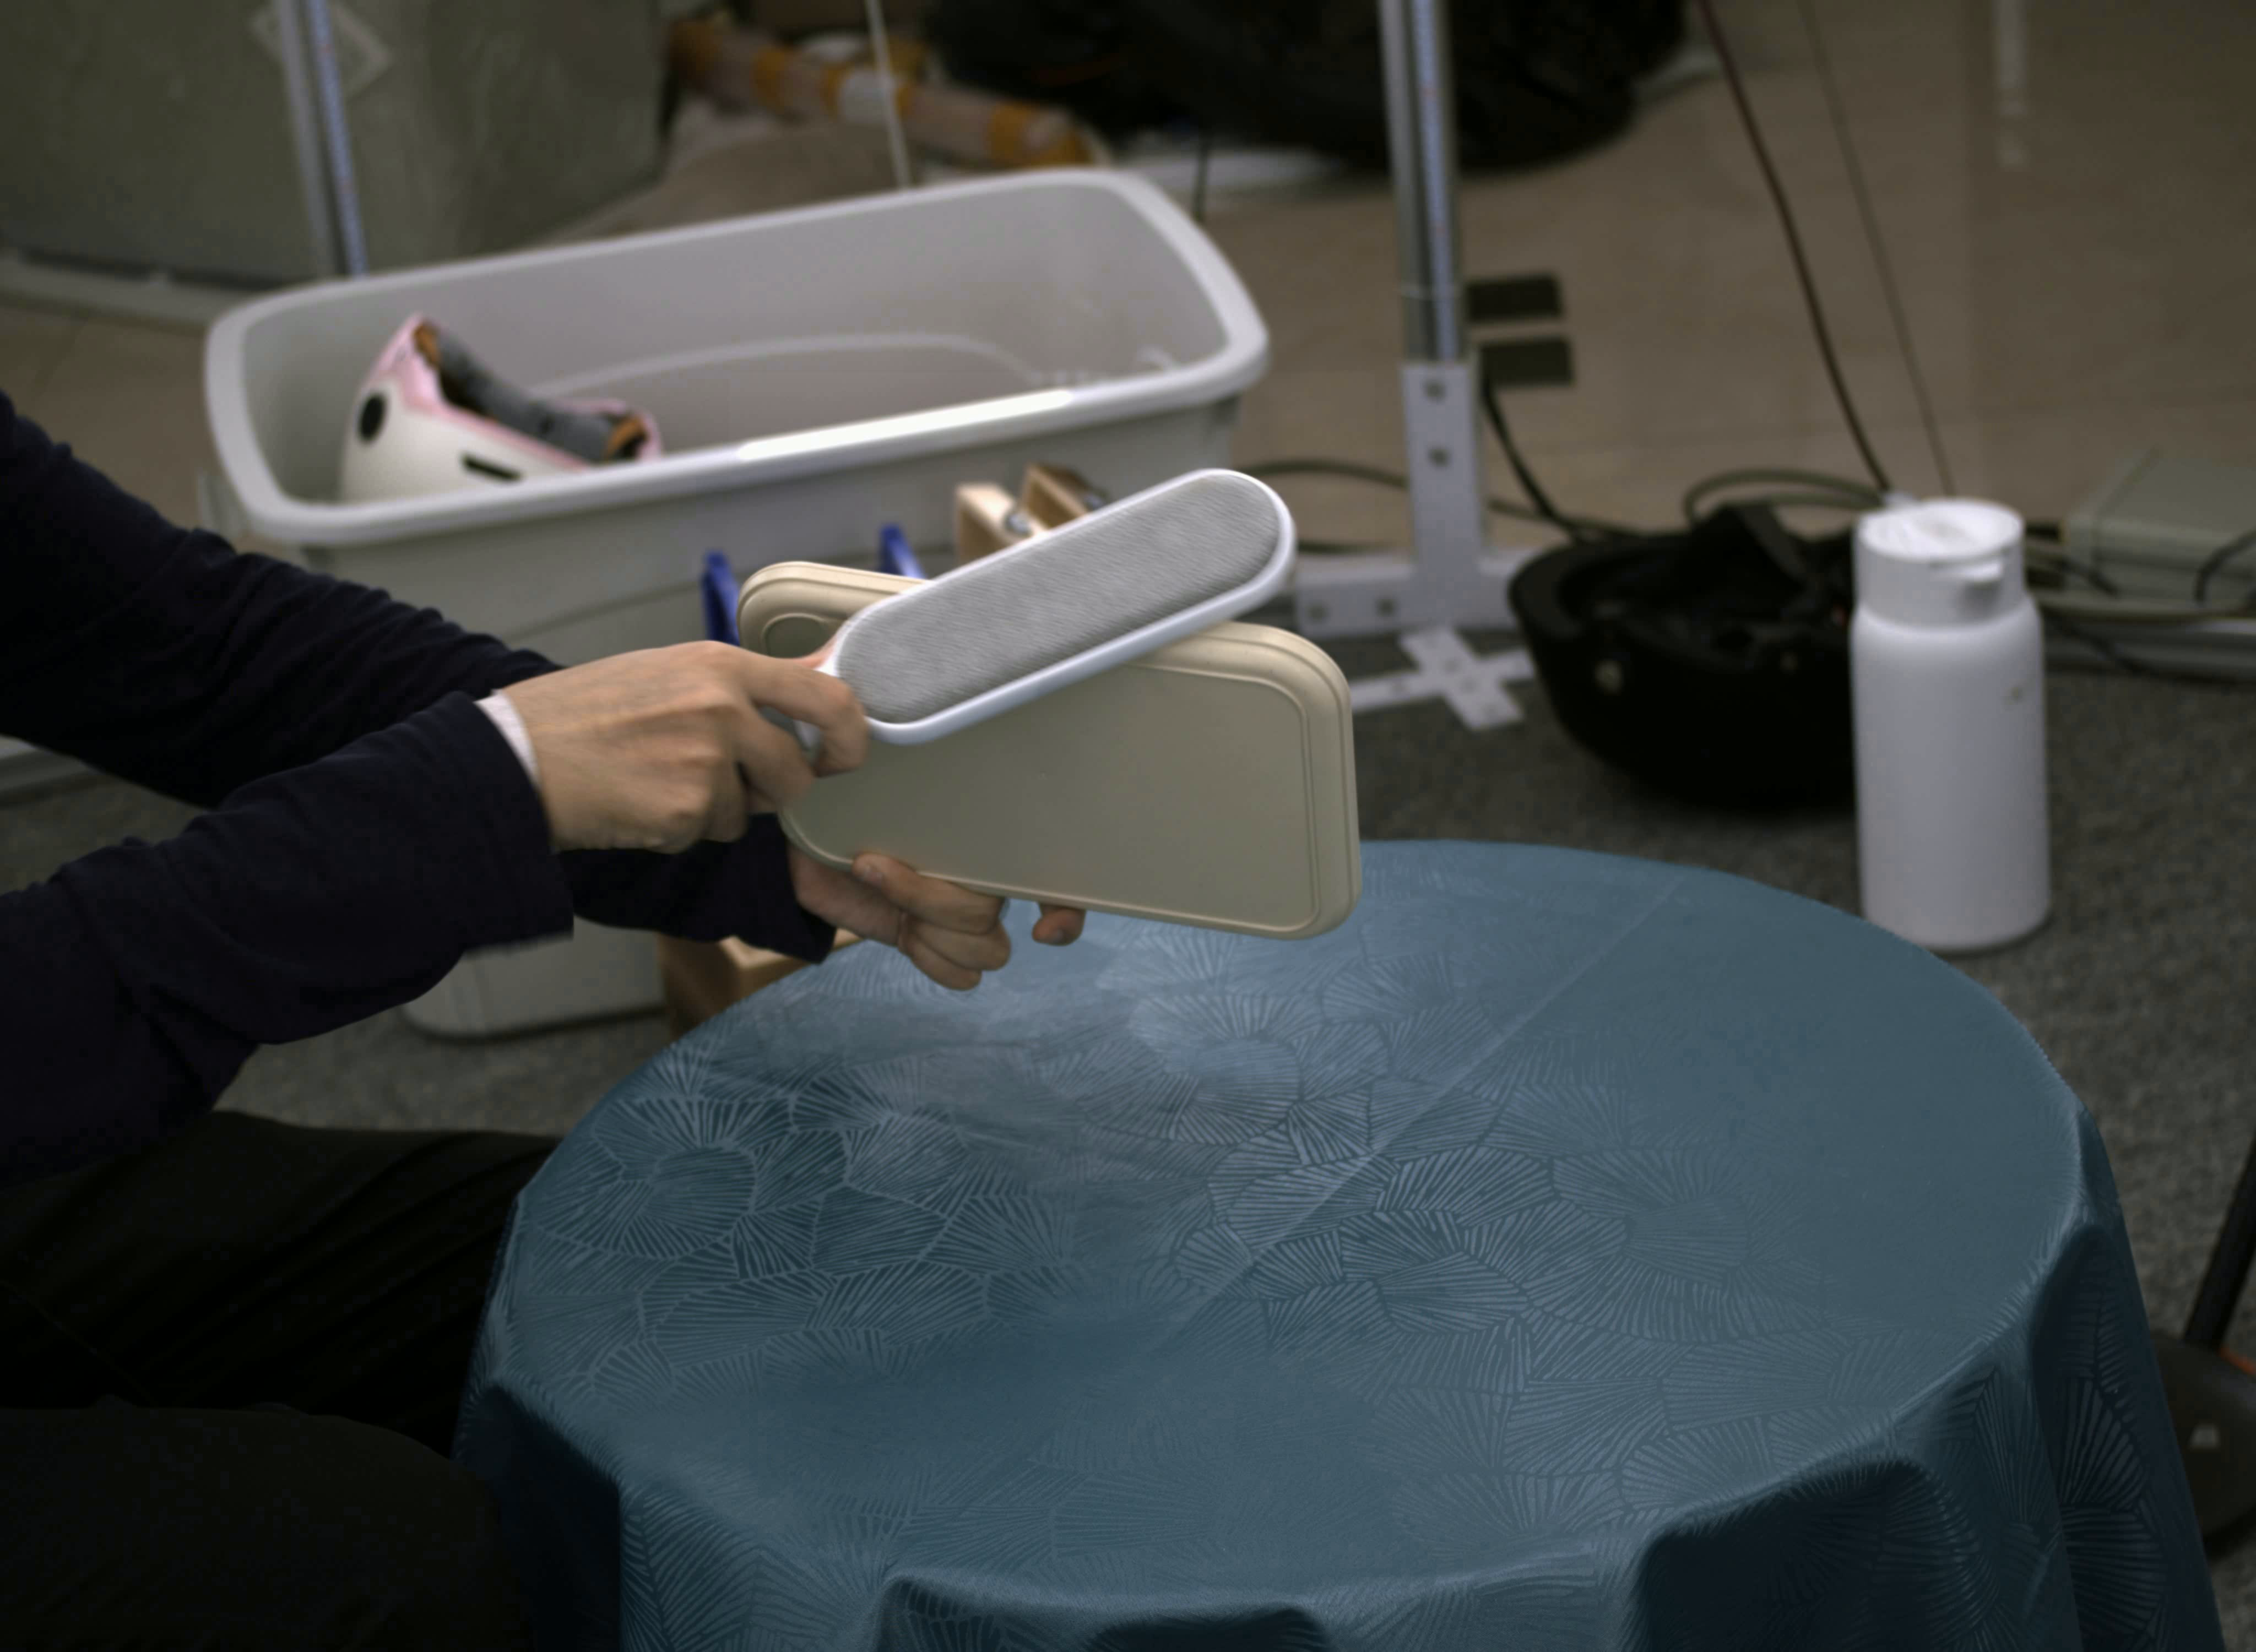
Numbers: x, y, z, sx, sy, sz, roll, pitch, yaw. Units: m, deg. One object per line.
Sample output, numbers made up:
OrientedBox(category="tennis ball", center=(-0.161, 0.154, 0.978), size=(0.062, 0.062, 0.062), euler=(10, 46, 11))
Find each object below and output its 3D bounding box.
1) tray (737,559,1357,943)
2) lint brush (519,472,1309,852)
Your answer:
OrientedBox(category="tray", center=(-0.031, -0.025, 2.152), size=(0.239, 0.174, 0.017), euler=(10, 52, 12))
OrientedBox(category="lint brush", center=(-0.078, -0.057, 2.066), size=(0.308, 0.021, 0.059), euler=(-22, 70, -4))
